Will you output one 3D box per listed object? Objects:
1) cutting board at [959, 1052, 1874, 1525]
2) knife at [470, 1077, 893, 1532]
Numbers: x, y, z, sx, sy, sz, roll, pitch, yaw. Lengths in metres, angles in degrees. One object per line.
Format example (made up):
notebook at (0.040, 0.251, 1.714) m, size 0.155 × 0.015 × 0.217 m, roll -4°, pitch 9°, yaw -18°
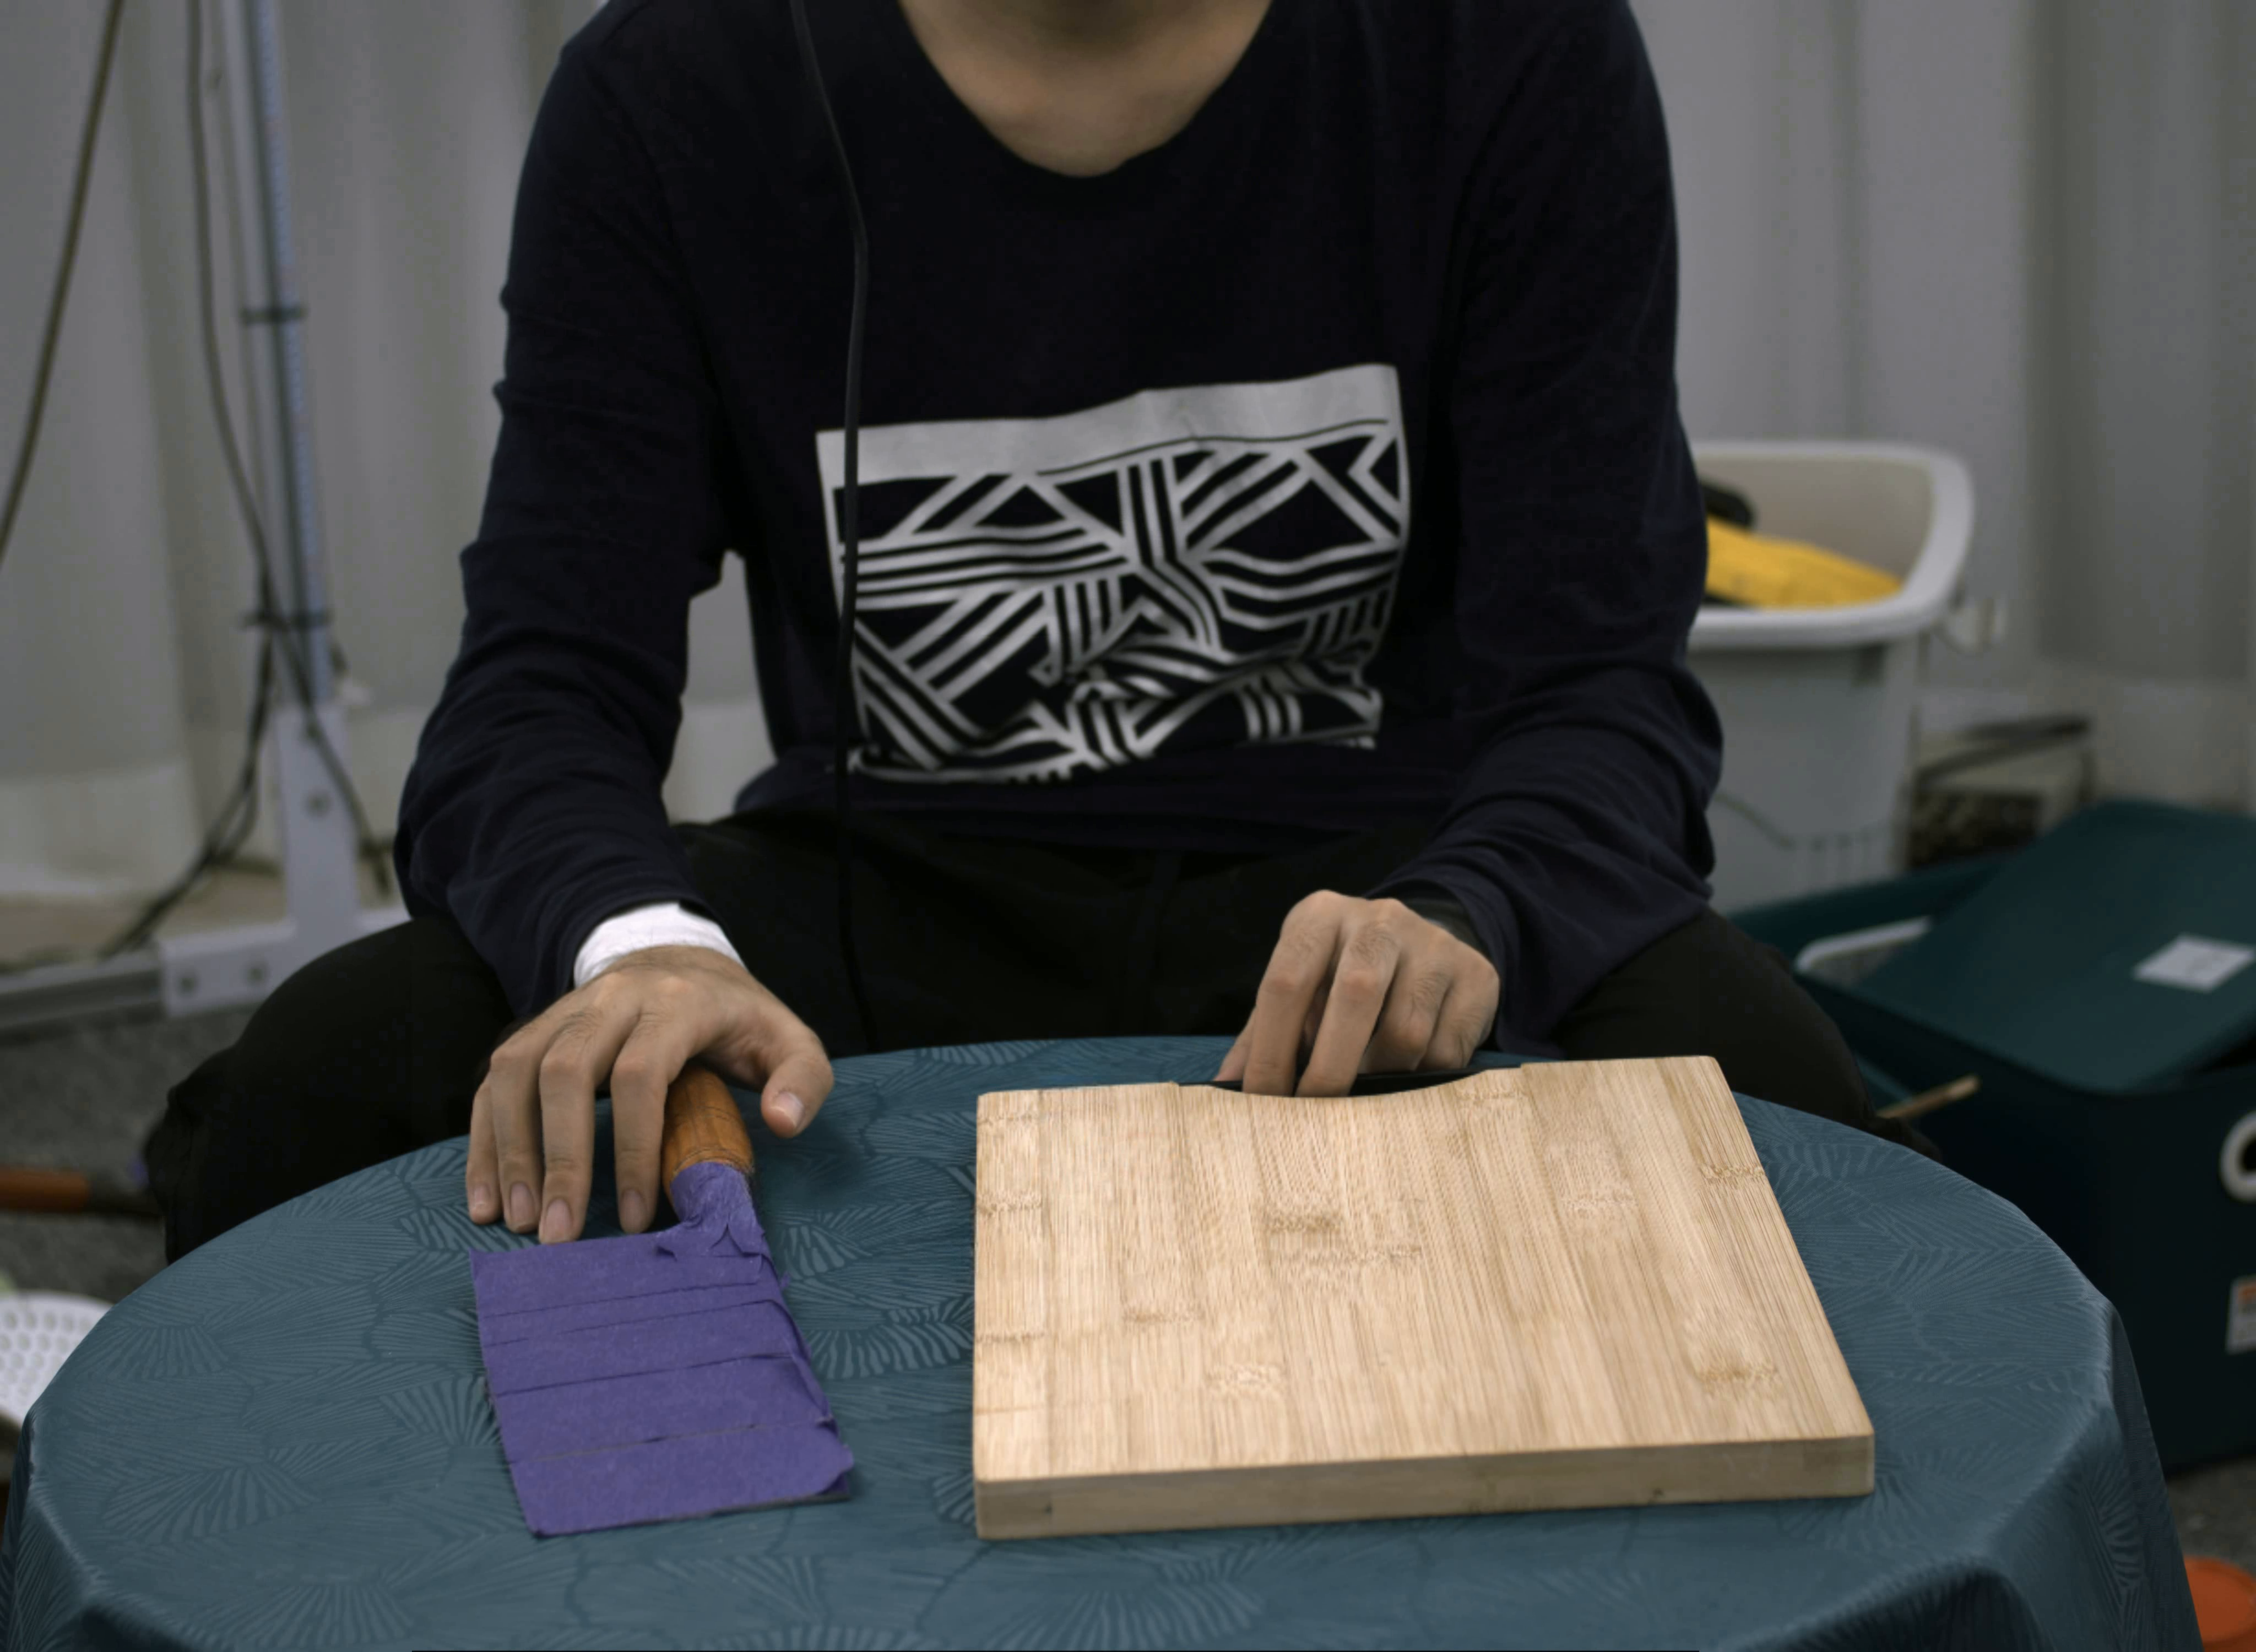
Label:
cutting board at (0.075, 0.131, 1.609) m, size 0.250 × 0.023 × 0.351 m, roll -3°, pitch 15°, yaw -1°
knife at (-0.145, 0.136, 1.610) m, size 0.103 × 0.032 × 0.318 m, roll -5°, pitch 15°, yaw -11°
